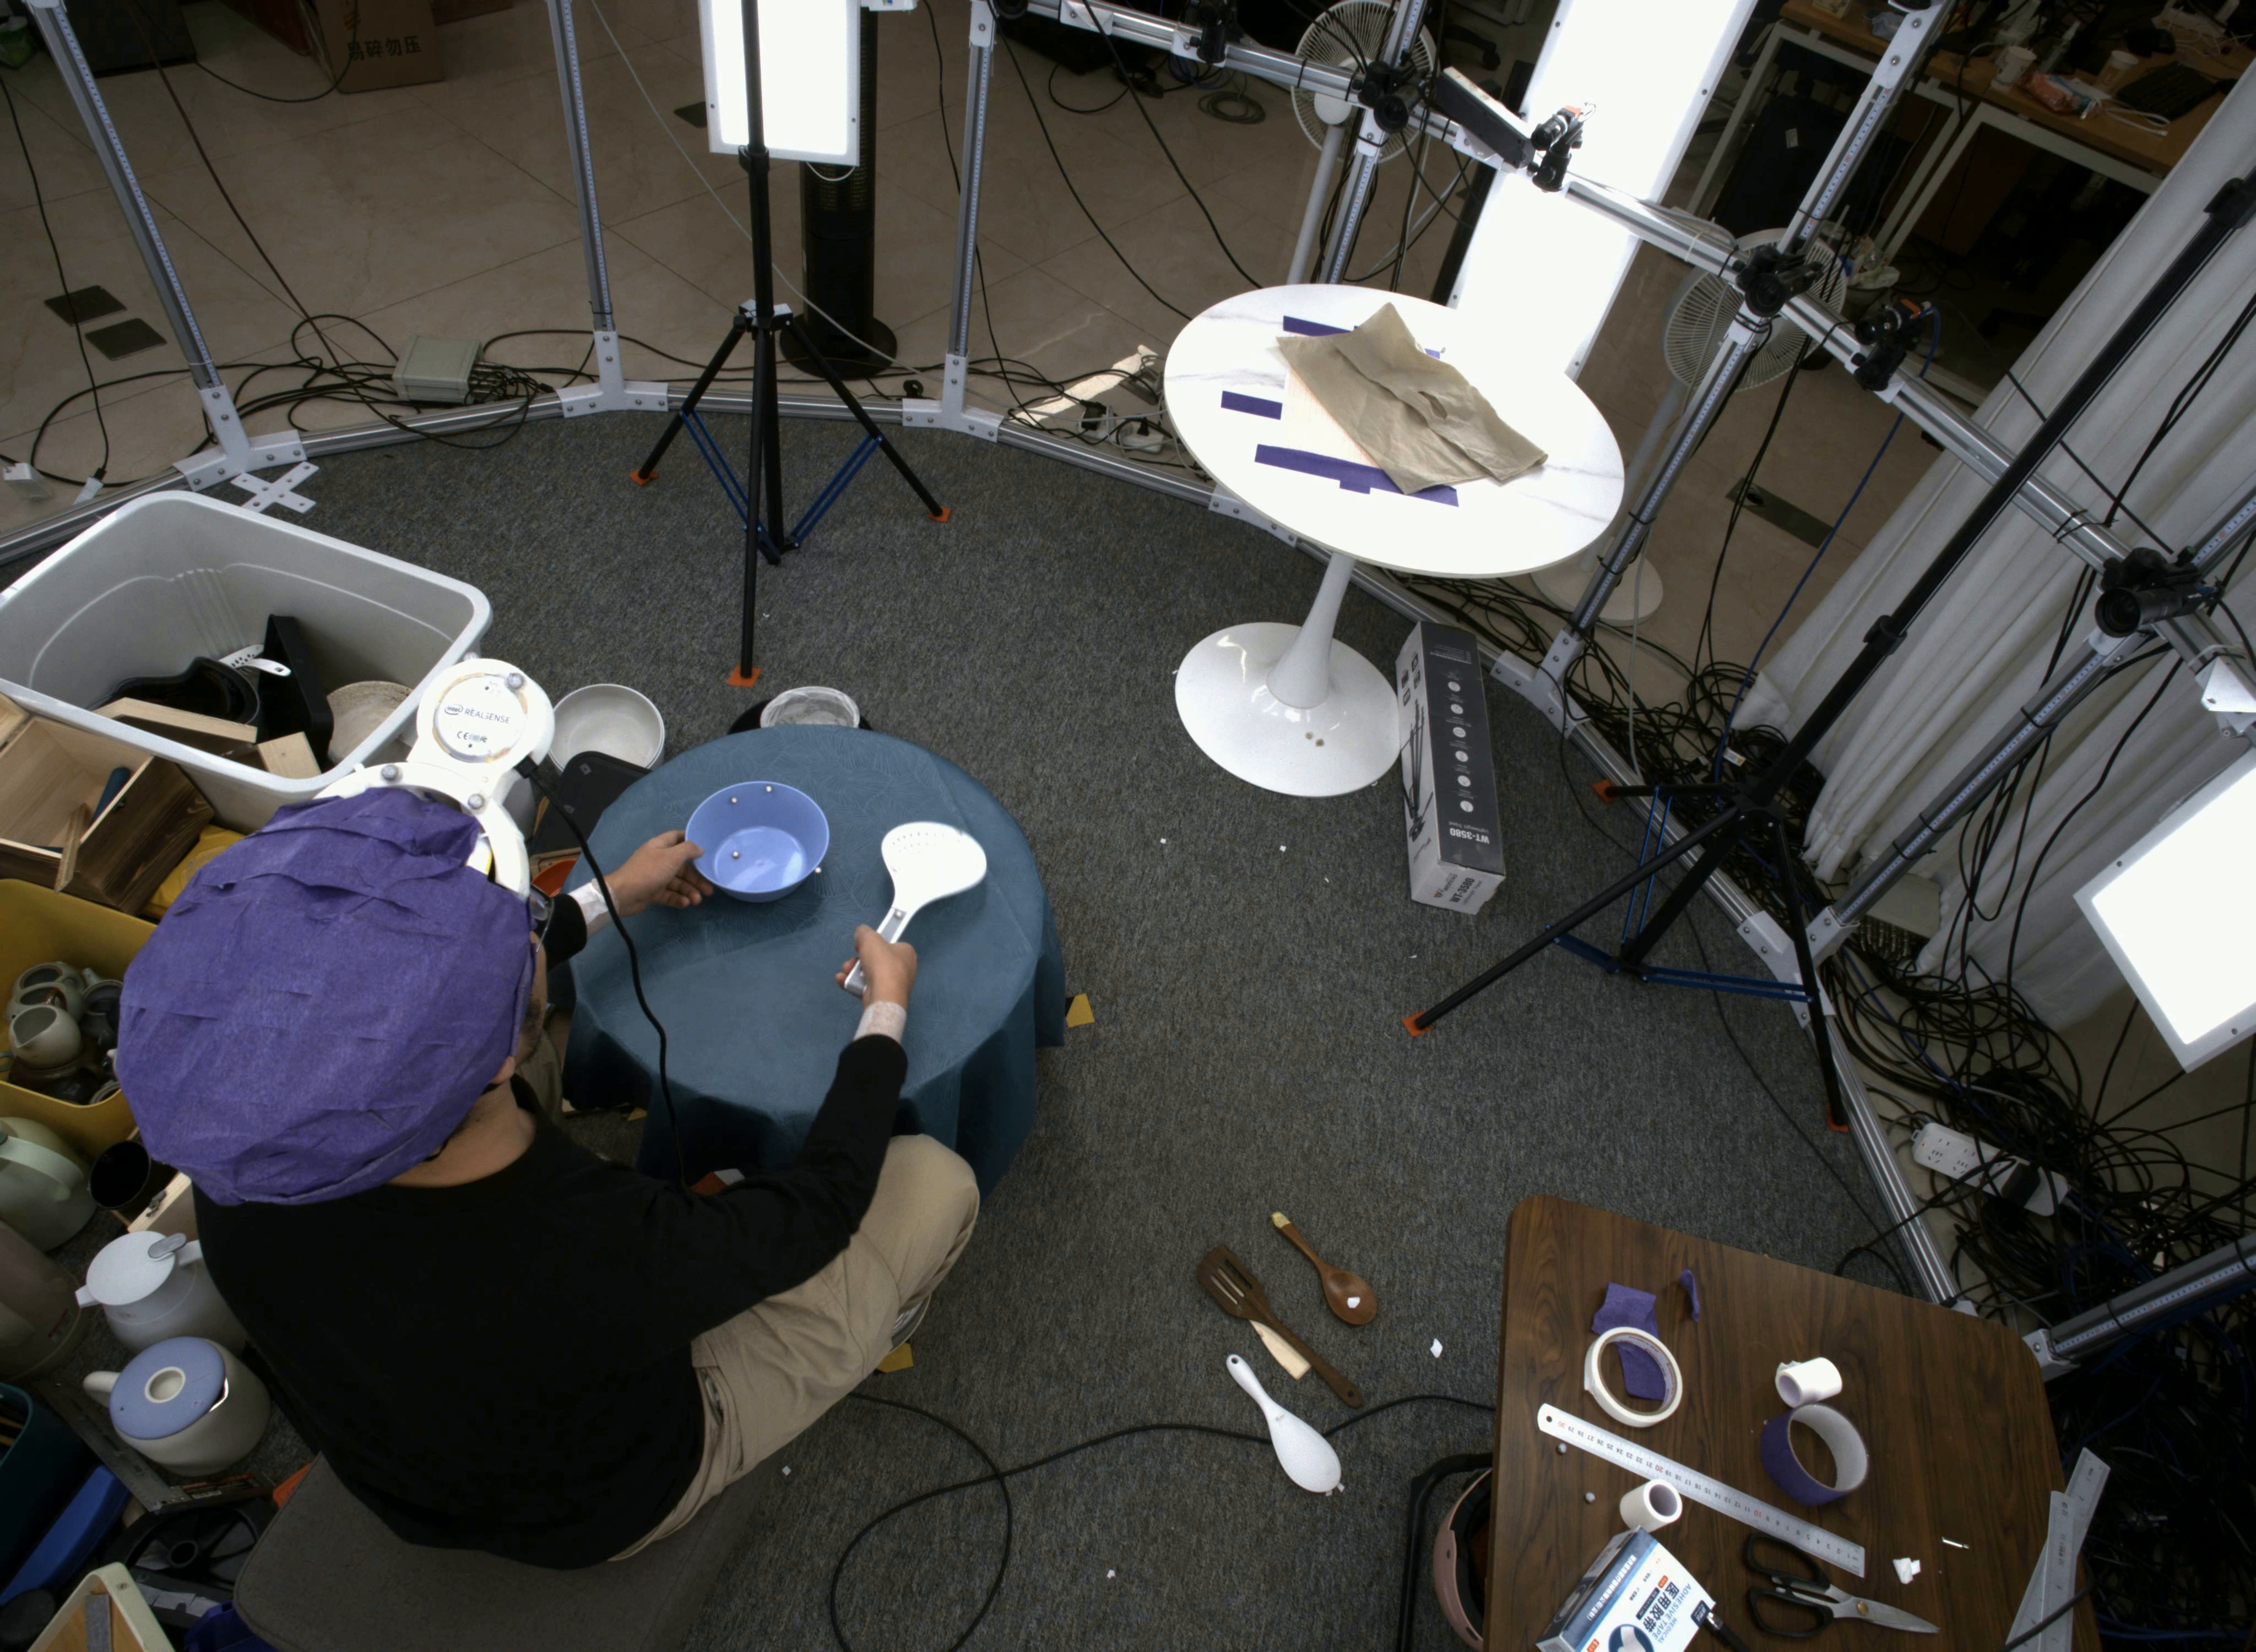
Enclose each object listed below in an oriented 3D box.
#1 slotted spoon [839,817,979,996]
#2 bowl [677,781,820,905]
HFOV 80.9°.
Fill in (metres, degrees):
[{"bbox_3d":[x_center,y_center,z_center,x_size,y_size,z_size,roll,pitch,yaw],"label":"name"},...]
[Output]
[{"bbox_3d":[-0.280,0.091,1.597,0.135,0.047,0.345,17,29,1],"label":"slotted spoon"},{"bbox_3d":[-0.477,0.031,1.636,0.176,0.071,0.173,7,53,-8],"label":"bowl"}]
